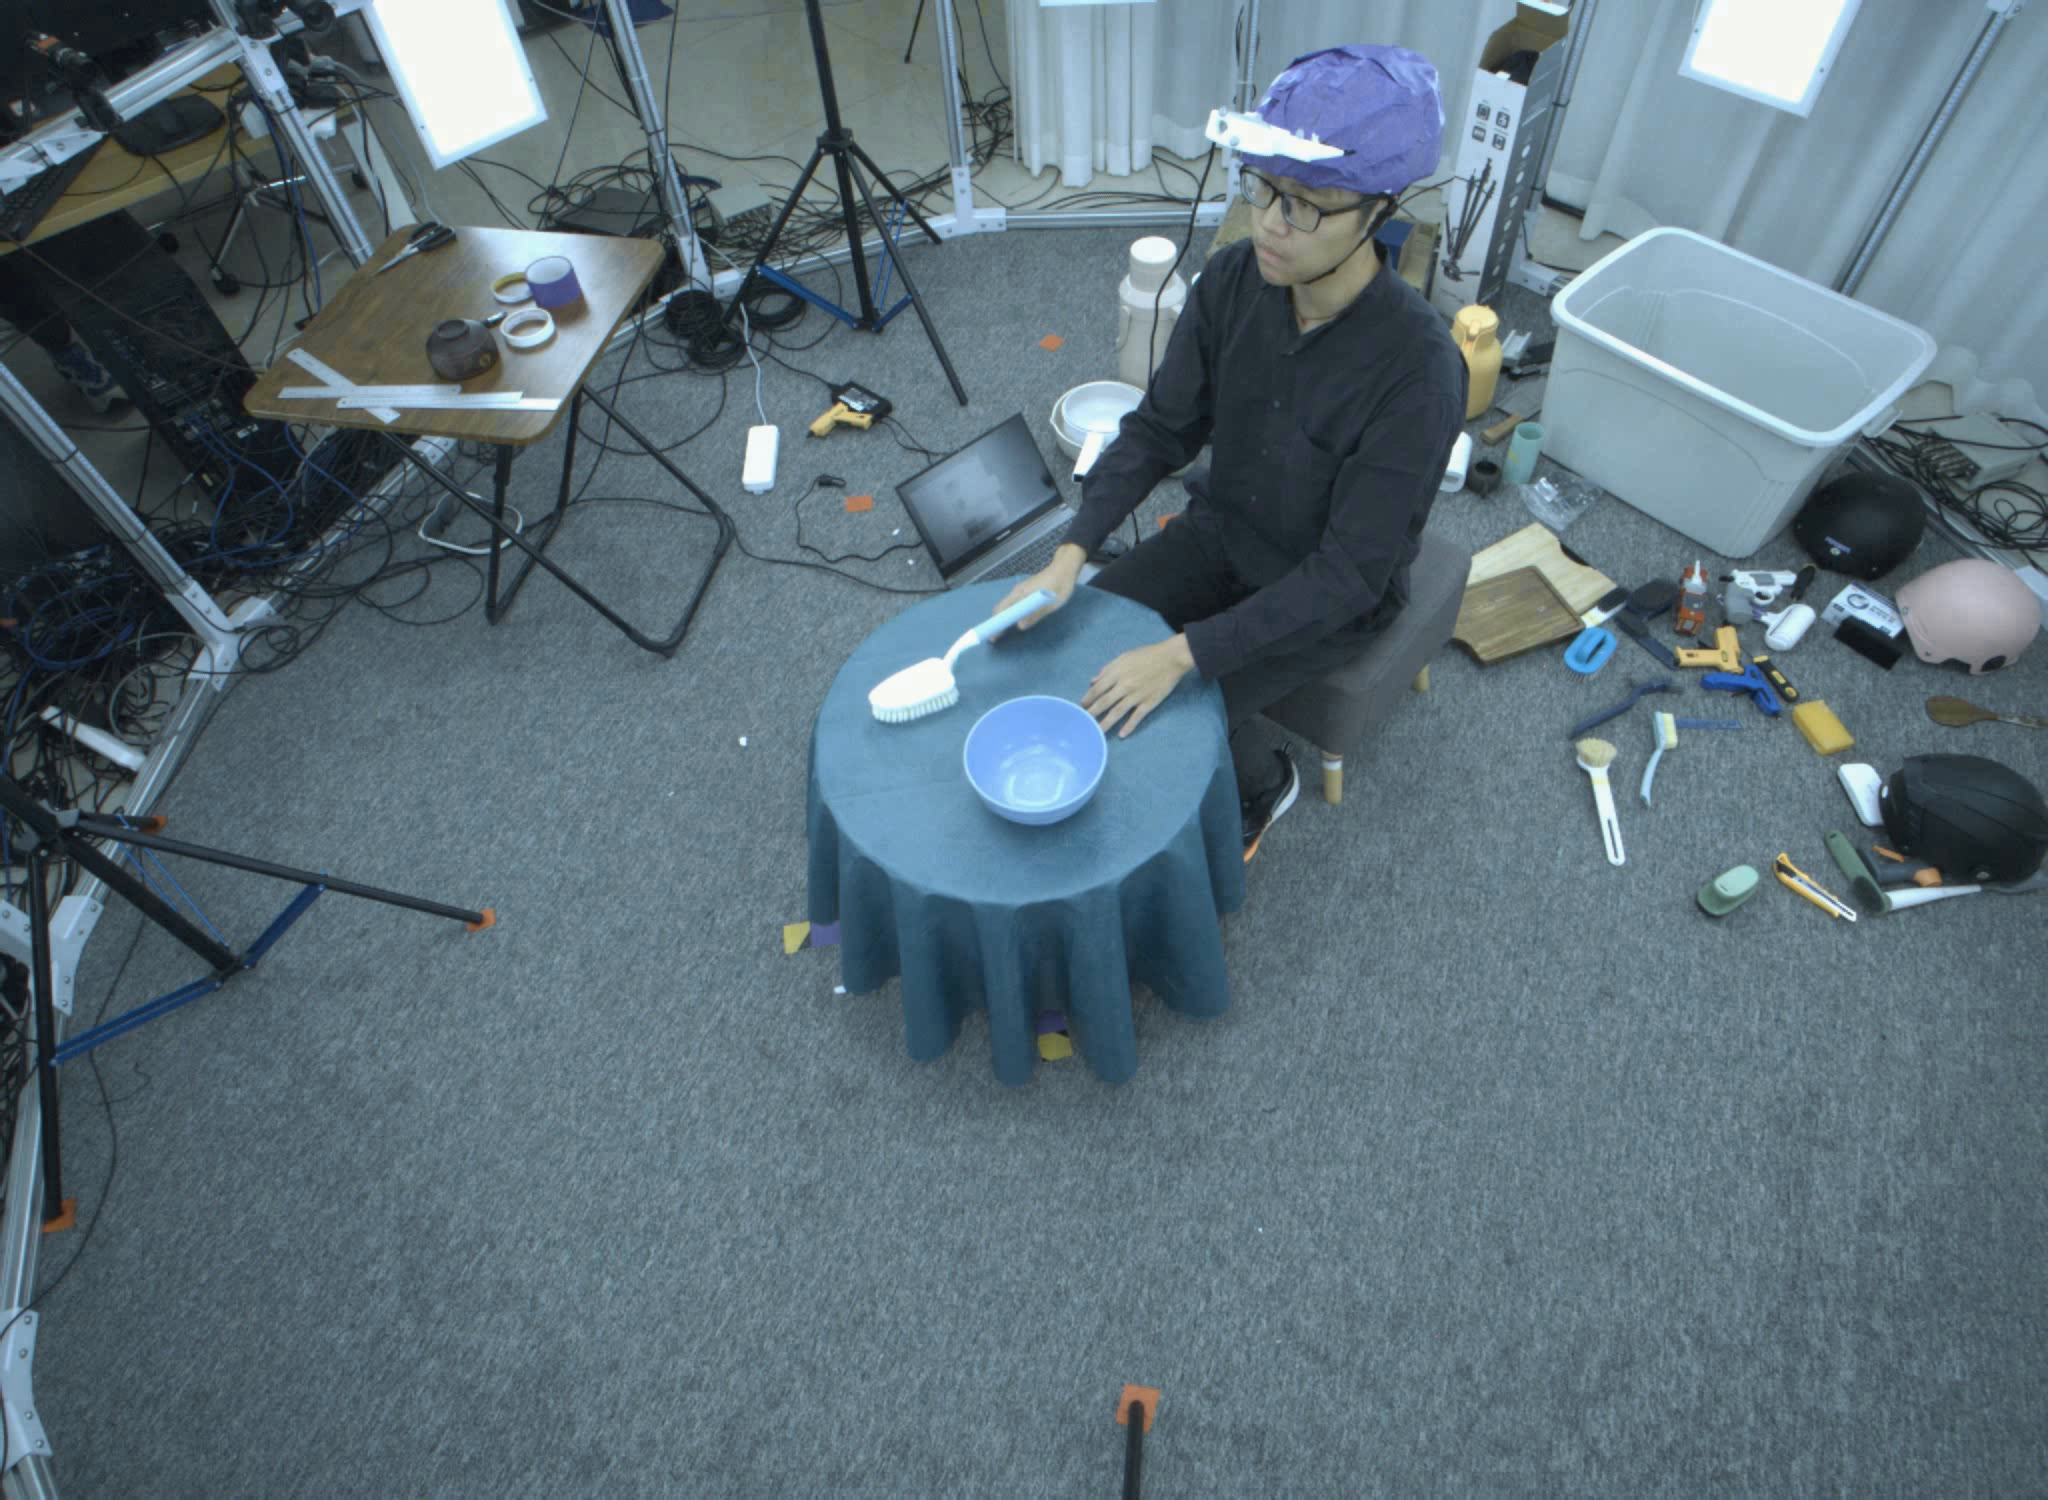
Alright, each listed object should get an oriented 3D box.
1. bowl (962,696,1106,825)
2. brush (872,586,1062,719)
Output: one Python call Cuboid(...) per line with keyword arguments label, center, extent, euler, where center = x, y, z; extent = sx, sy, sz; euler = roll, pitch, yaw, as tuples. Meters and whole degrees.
Cuboid(label="bowl", center=(0.017, 0.029, 1.710), extent=(0.196, 0.096, 0.194), euler=(-1, 54, 2))
Cuboid(label="brush", center=(-0.077, -0.136, 1.835), extent=(0.326, 0.084, 0.083), euler=(-31, 95, -4))
